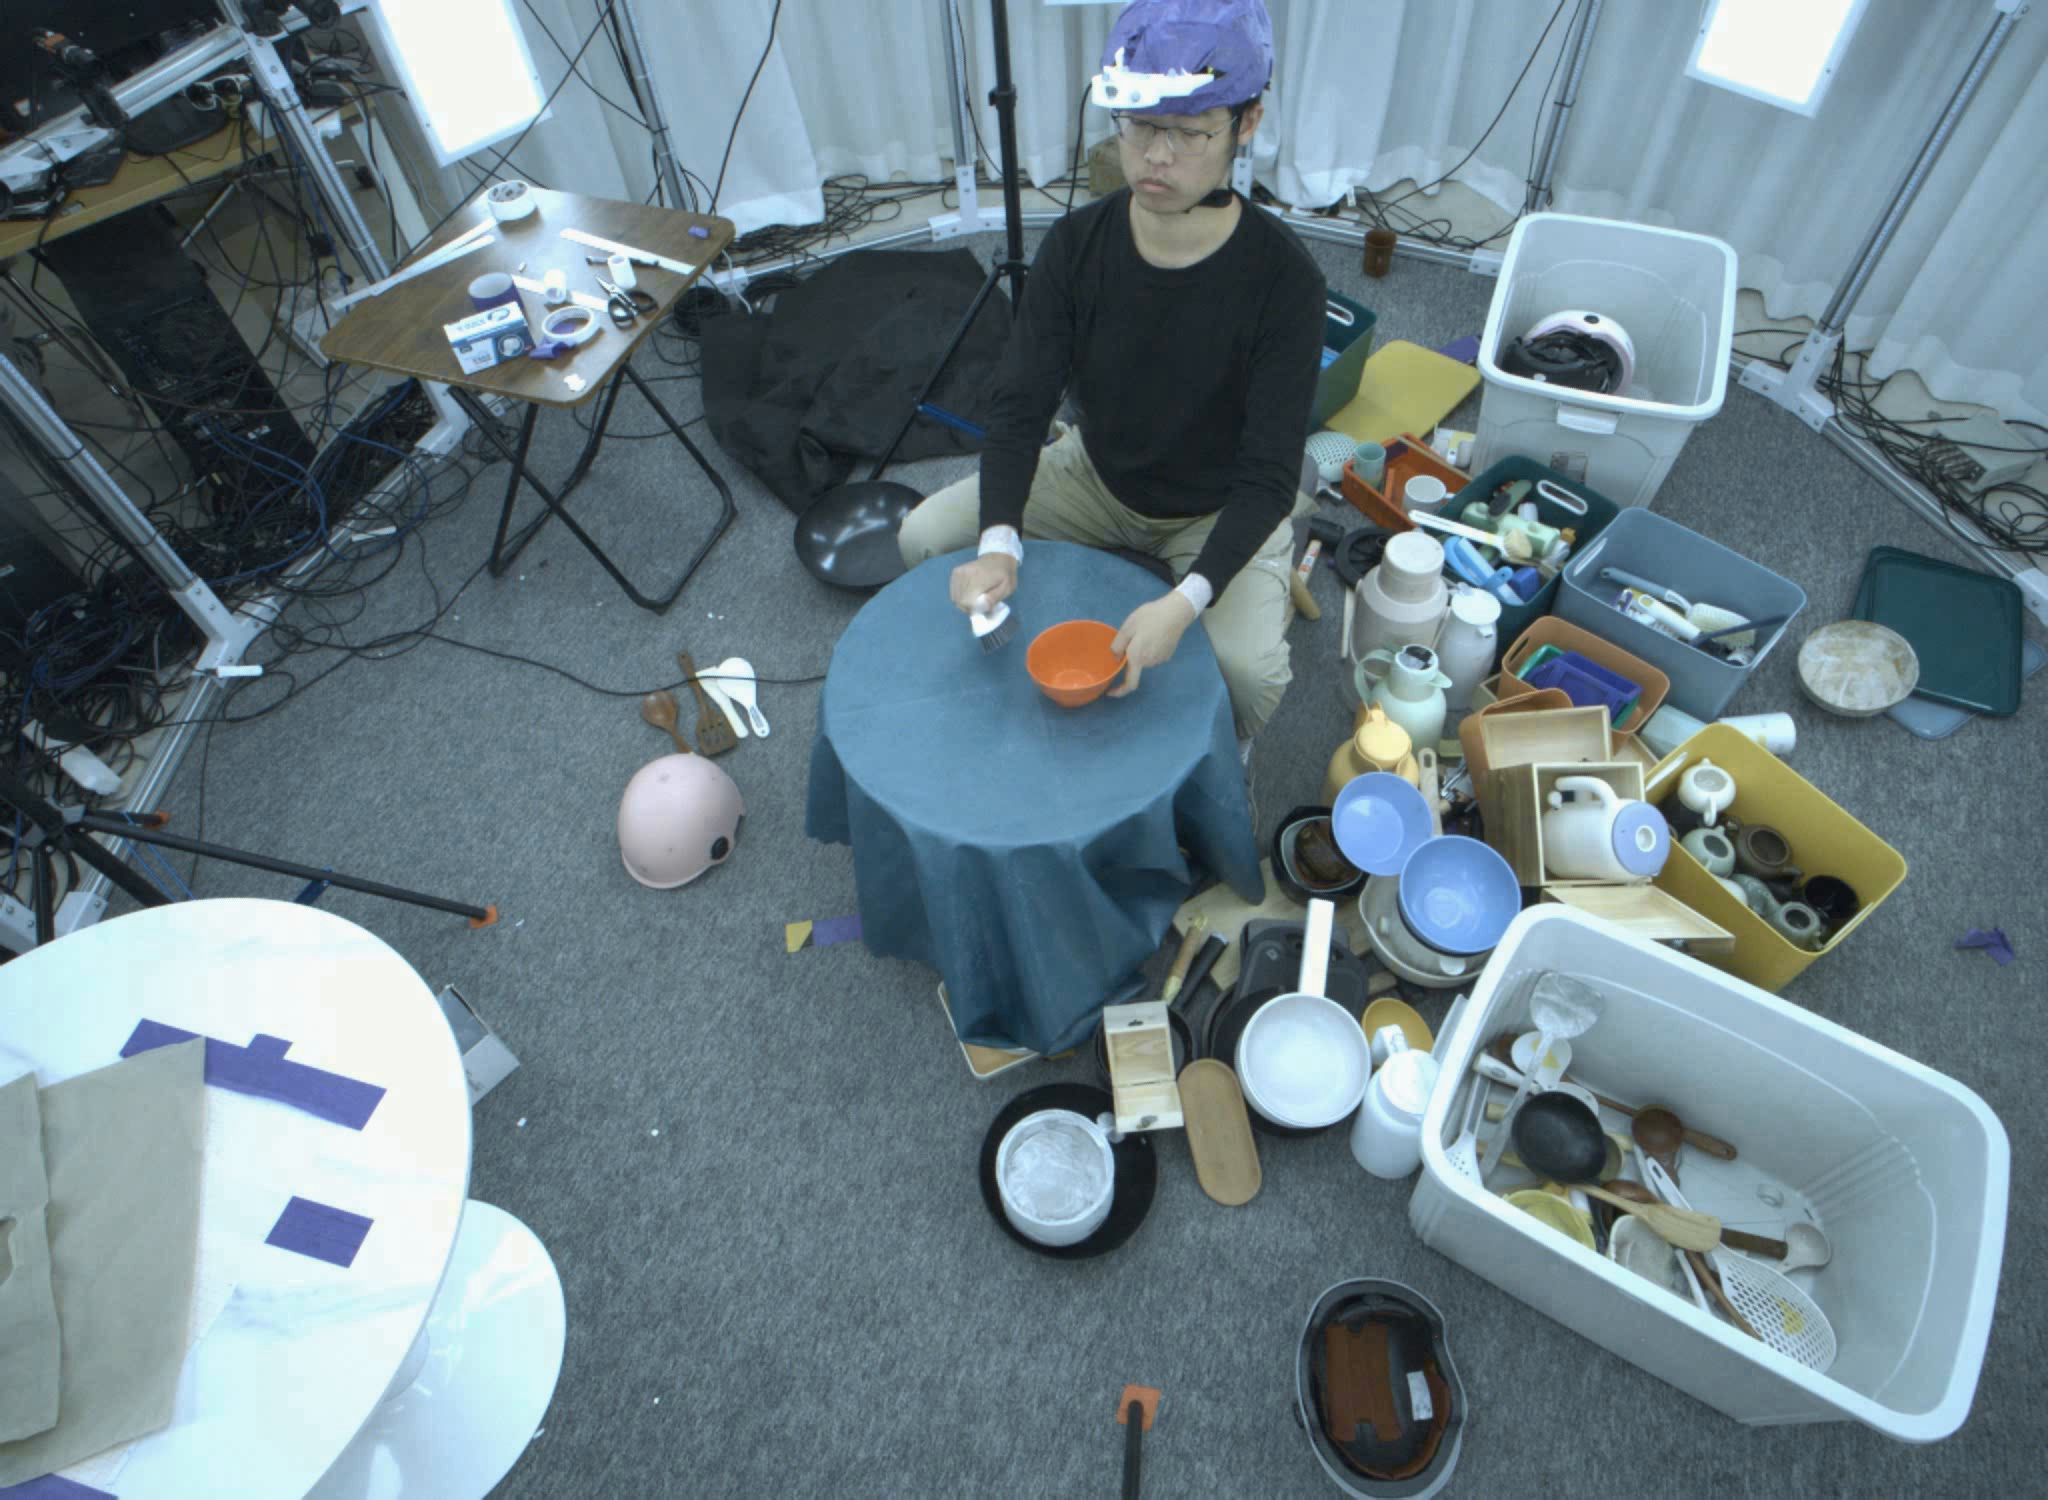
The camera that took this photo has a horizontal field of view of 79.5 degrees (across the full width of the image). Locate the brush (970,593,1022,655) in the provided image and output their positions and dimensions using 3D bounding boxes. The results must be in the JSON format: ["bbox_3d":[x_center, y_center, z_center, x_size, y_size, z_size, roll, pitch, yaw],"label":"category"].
[{"bbox_3d":[-0.048,-0.190,1.781,0.049,0.073,0.099,-24,17,26],"label":"brush"}]

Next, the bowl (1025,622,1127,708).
[{"bbox_3d":[0.076,-0.112,1.804,0.148,0.106,0.146,0,53,2],"label":"bowl"}]
